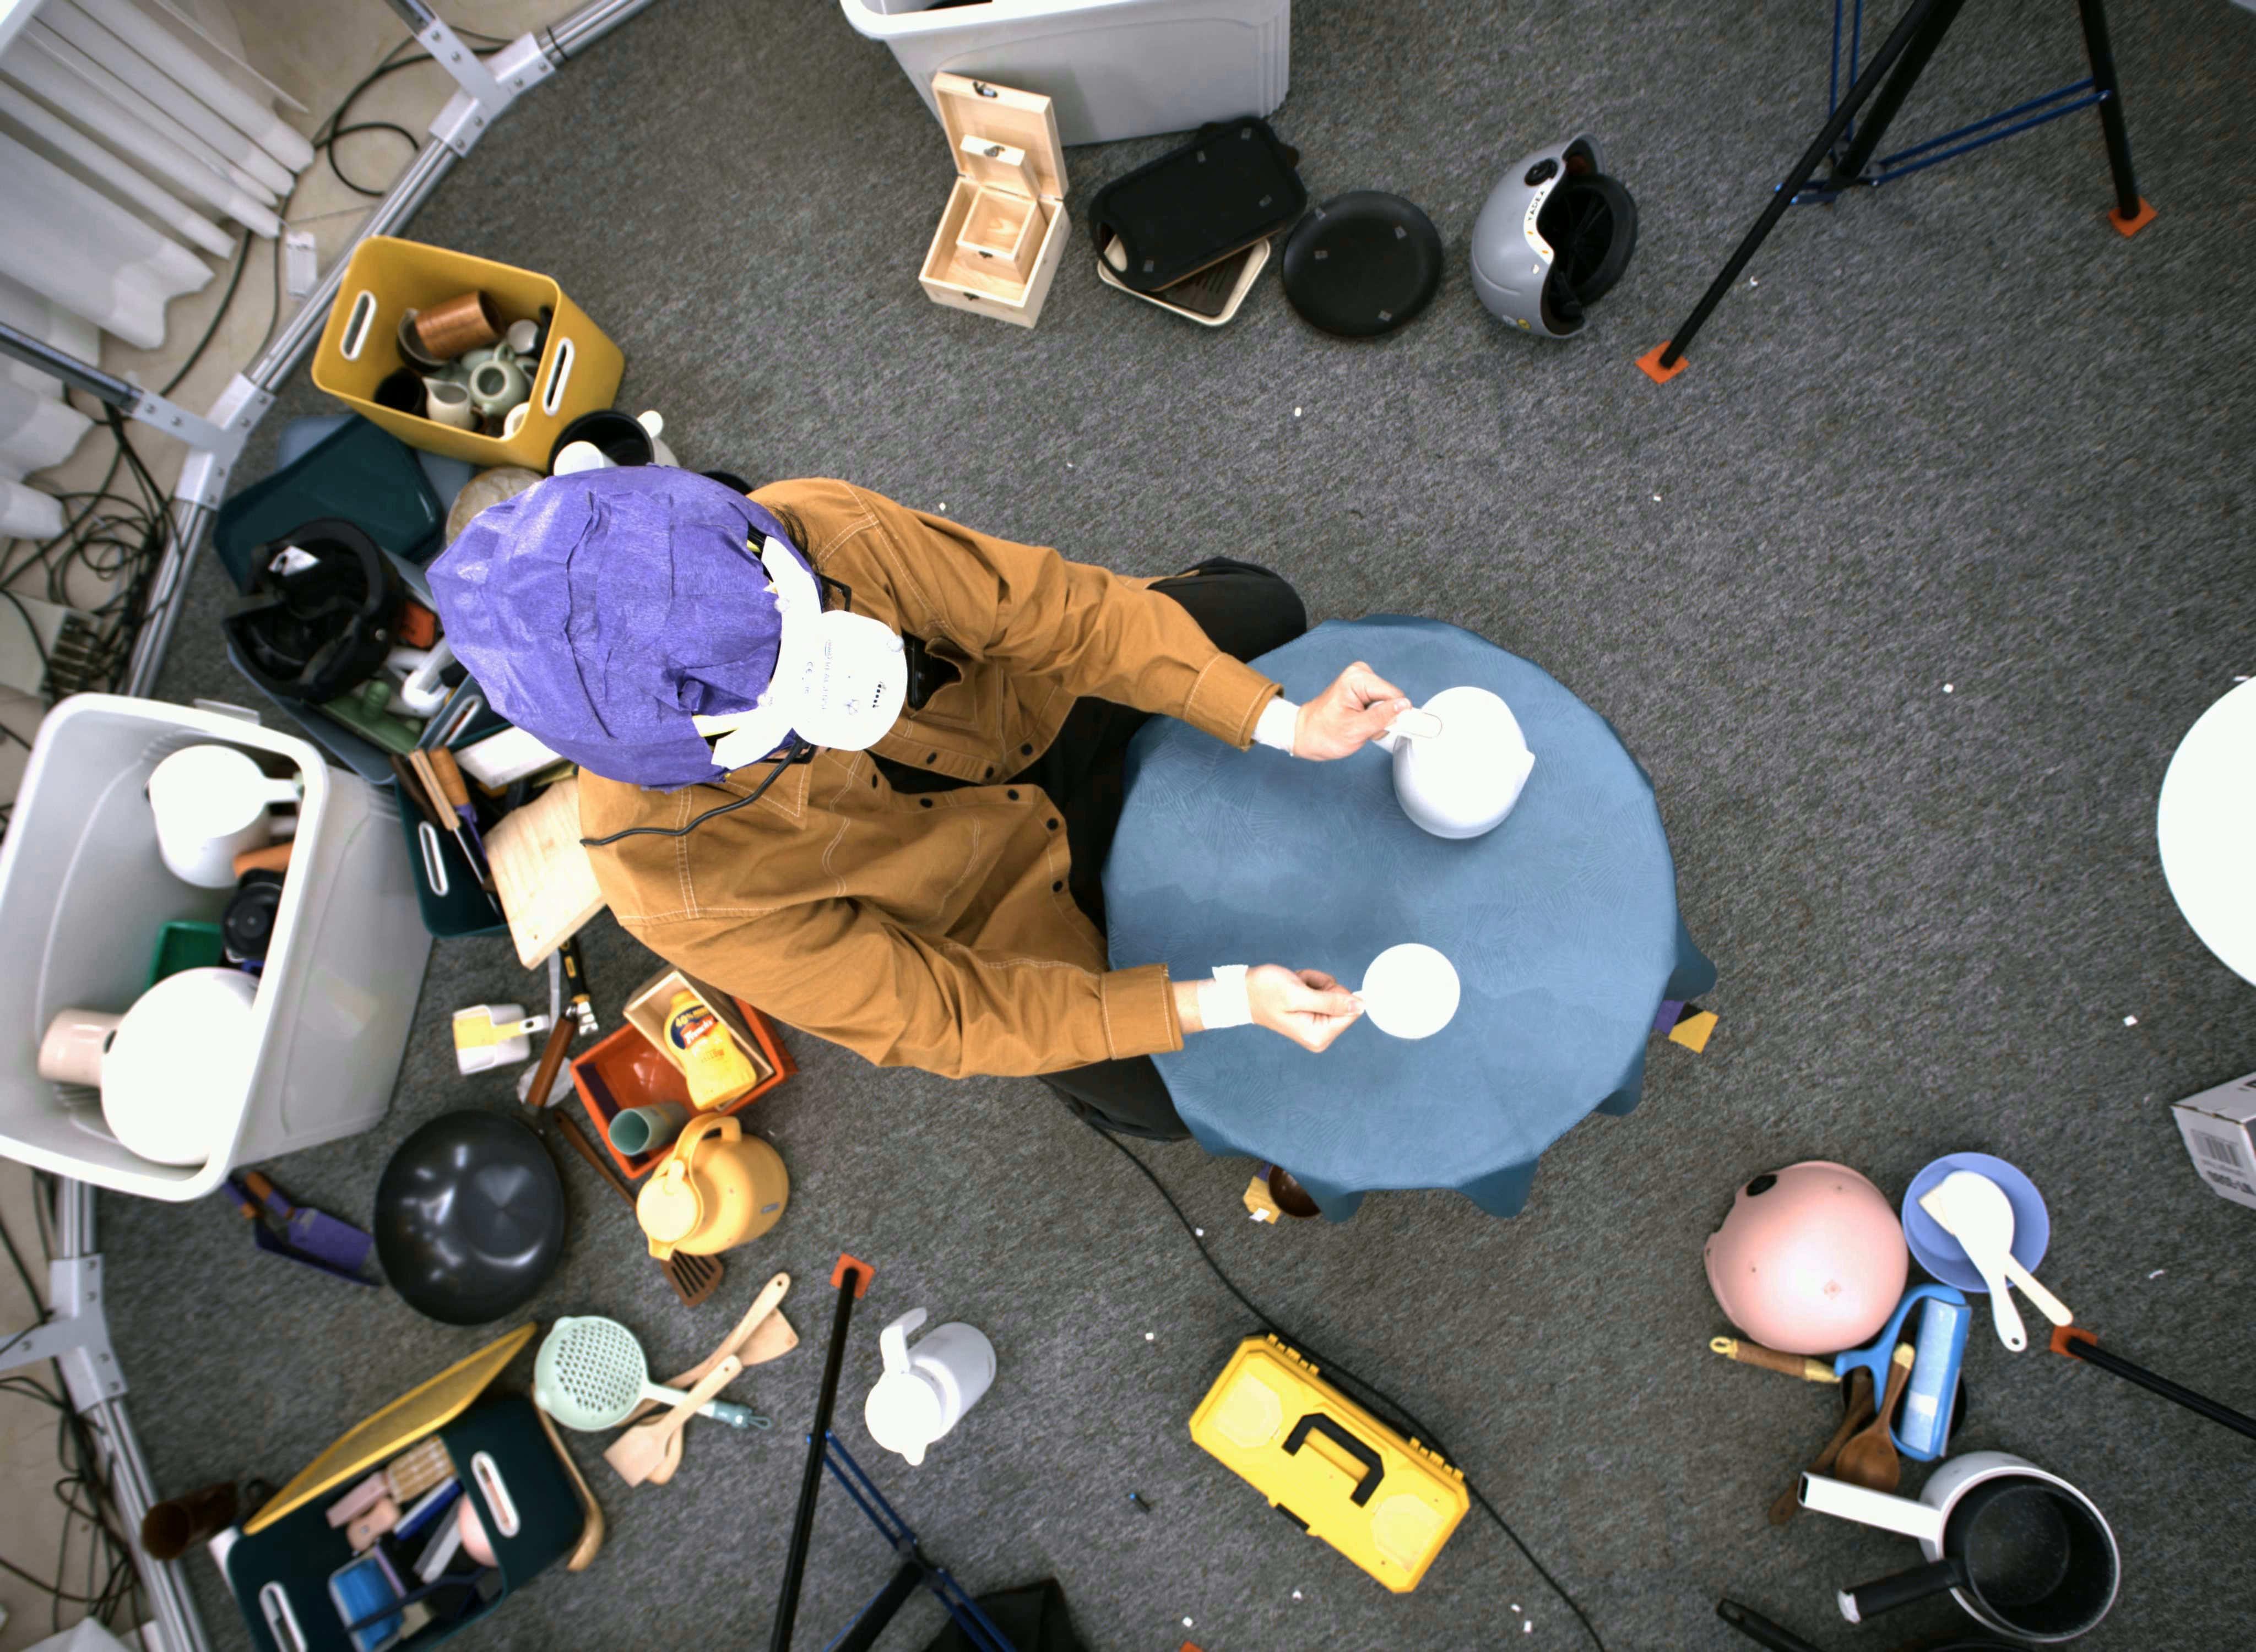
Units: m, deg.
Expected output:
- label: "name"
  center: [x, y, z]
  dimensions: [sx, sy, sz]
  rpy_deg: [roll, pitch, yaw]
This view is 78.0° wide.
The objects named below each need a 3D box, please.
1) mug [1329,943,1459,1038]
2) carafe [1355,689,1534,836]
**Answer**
- label: "mug"
  center: [0.246, 0.155, 1.292]
  dimensions: [0.119, 0.102, 0.084]
  rpy_deg: [-14, 83, 9]
- label: "carafe"
  center: [0.299, -0.073, 1.315]
  dimensions: [0.167, 0.248, 0.132]
  rpy_deg: [22, 91, 13]
